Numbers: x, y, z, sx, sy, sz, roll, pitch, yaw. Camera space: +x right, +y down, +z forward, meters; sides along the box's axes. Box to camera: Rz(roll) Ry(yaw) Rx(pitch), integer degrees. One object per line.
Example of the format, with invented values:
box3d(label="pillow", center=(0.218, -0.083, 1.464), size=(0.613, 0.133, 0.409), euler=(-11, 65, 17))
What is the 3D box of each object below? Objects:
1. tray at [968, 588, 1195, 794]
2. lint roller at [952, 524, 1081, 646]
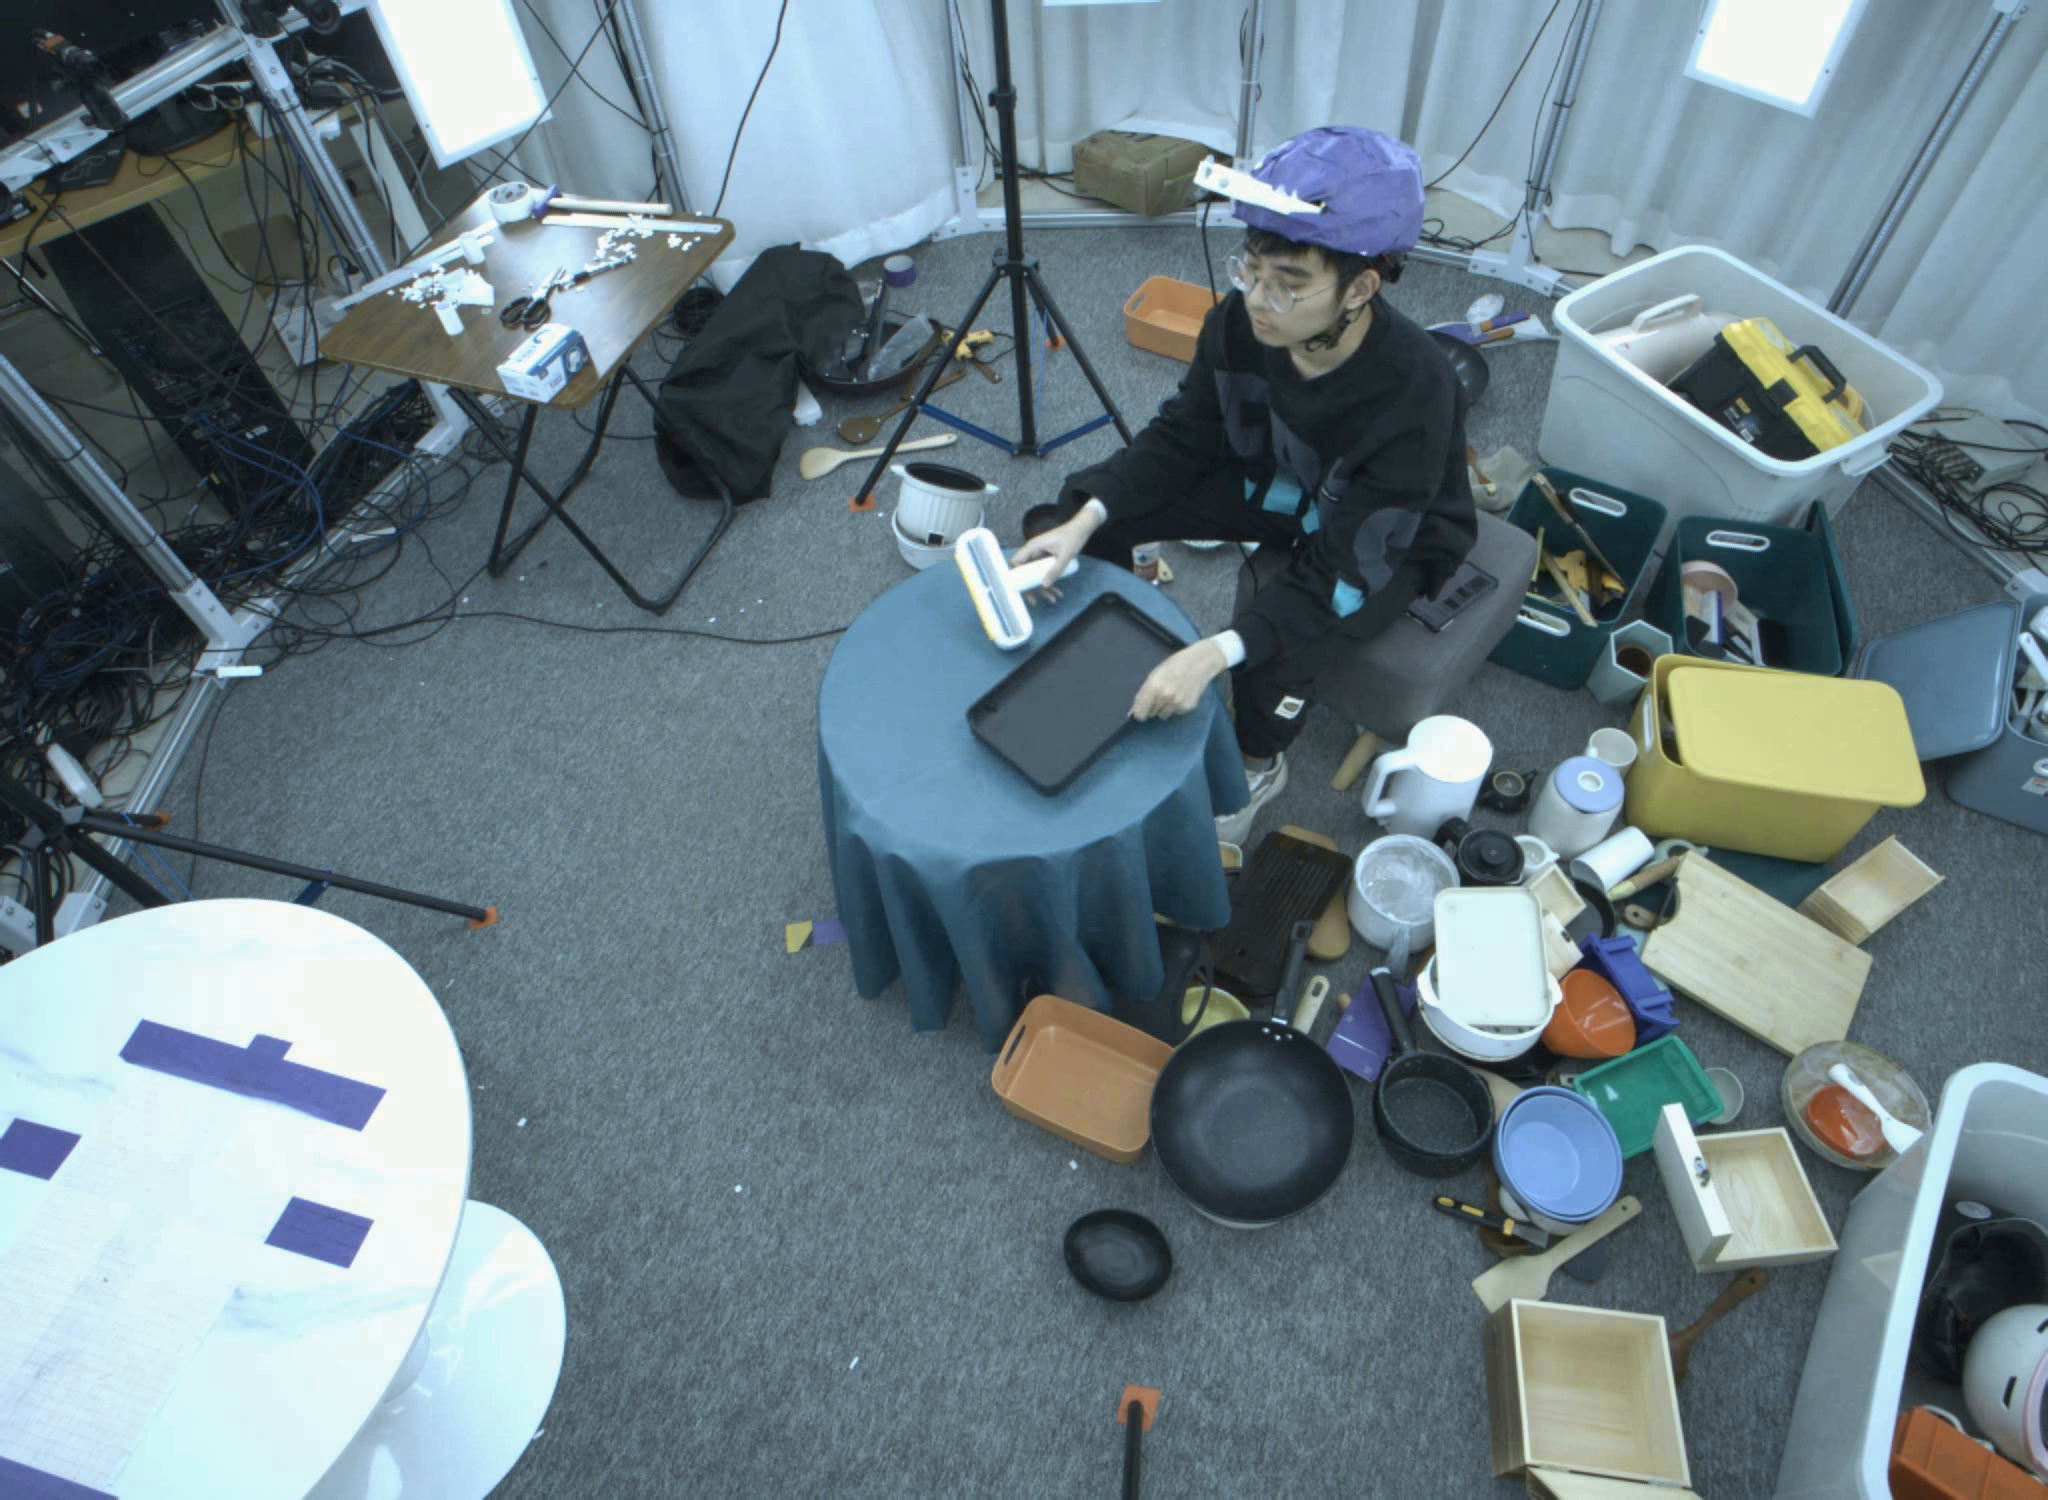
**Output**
box3d(label="tray", center=(0.086, -0.091, 1.795), size=(0.181, 0.037, 0.319), euler=(39, 69, 20))
box3d(label="lint roller", center=(0.002, -0.270, 1.900), size=(0.194, 0.074, 0.192), euler=(-20, 84, -14))
